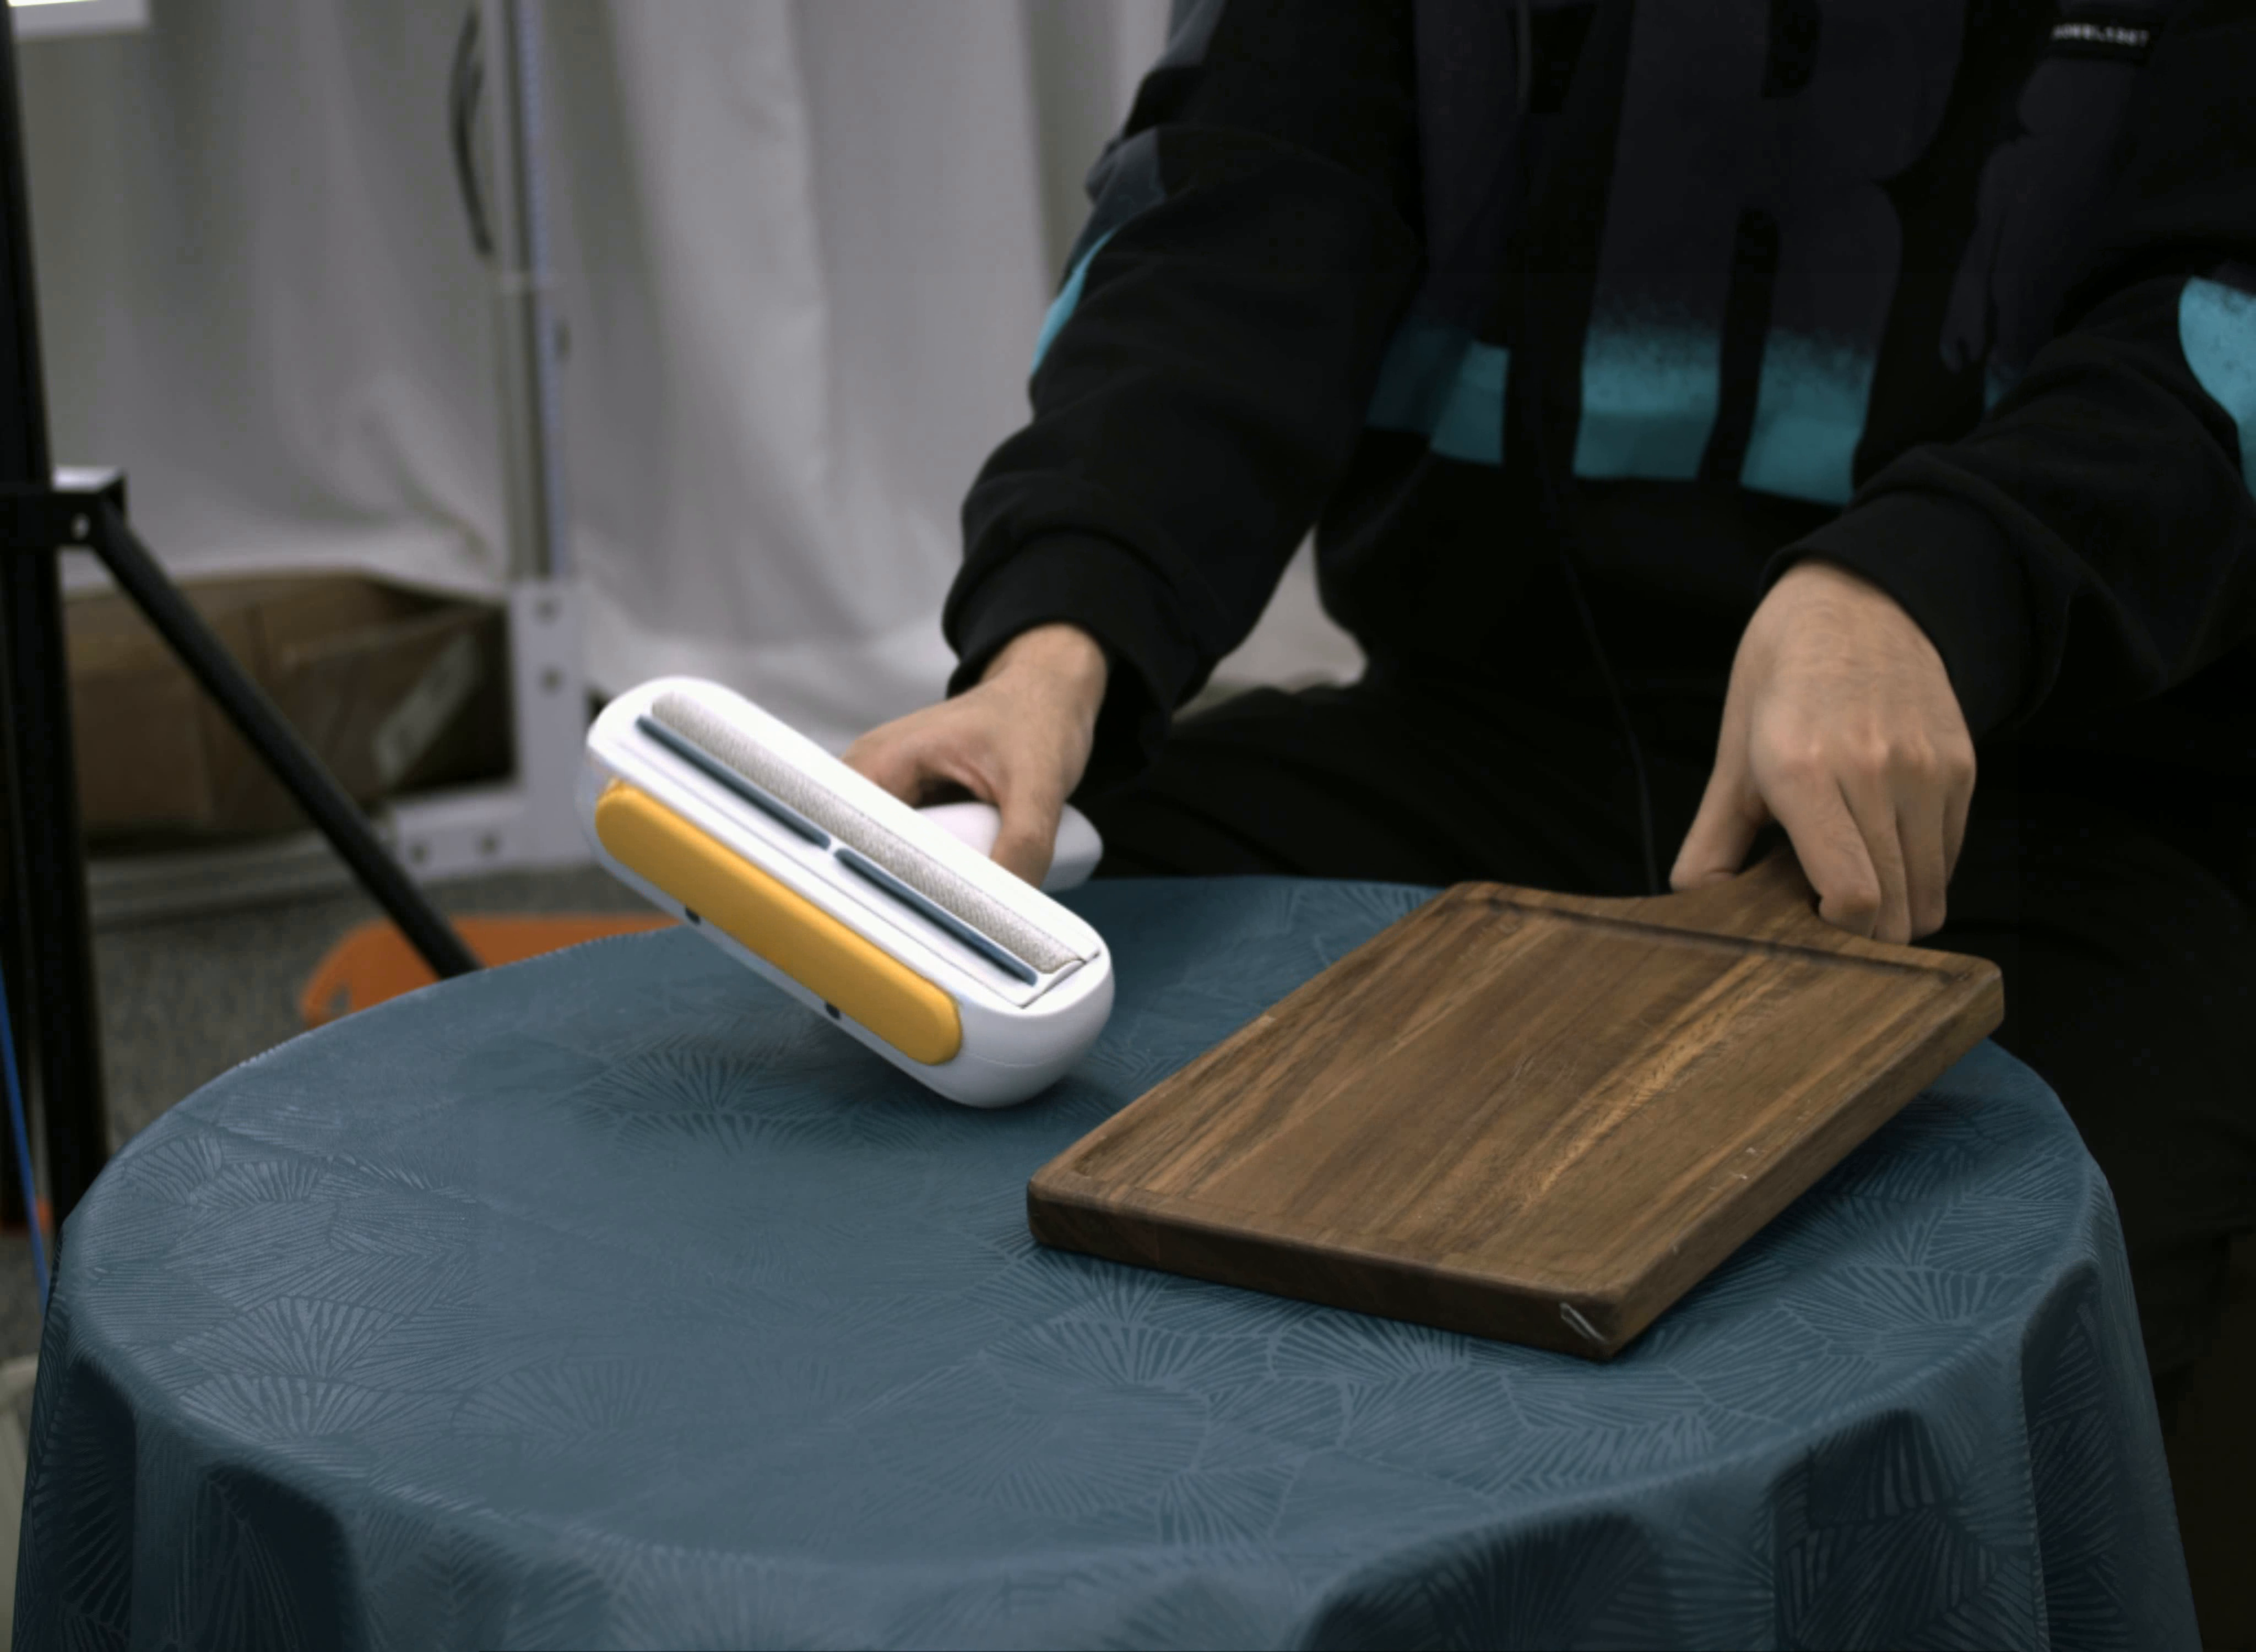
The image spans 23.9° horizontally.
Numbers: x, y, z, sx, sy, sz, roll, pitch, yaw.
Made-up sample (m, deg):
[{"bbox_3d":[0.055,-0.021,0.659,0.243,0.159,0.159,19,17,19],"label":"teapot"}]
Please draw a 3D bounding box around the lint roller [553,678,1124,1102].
[{"bbox_3d":[-0.065,0.011,1.720,0.196,0.074,0.188,29,30,28],"label":"lint roller"}]

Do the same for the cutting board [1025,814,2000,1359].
[{"bbox_3d":[0.143,0.066,1.588,0.205,0.023,0.346,7,24,34],"label":"cutting board"}]
